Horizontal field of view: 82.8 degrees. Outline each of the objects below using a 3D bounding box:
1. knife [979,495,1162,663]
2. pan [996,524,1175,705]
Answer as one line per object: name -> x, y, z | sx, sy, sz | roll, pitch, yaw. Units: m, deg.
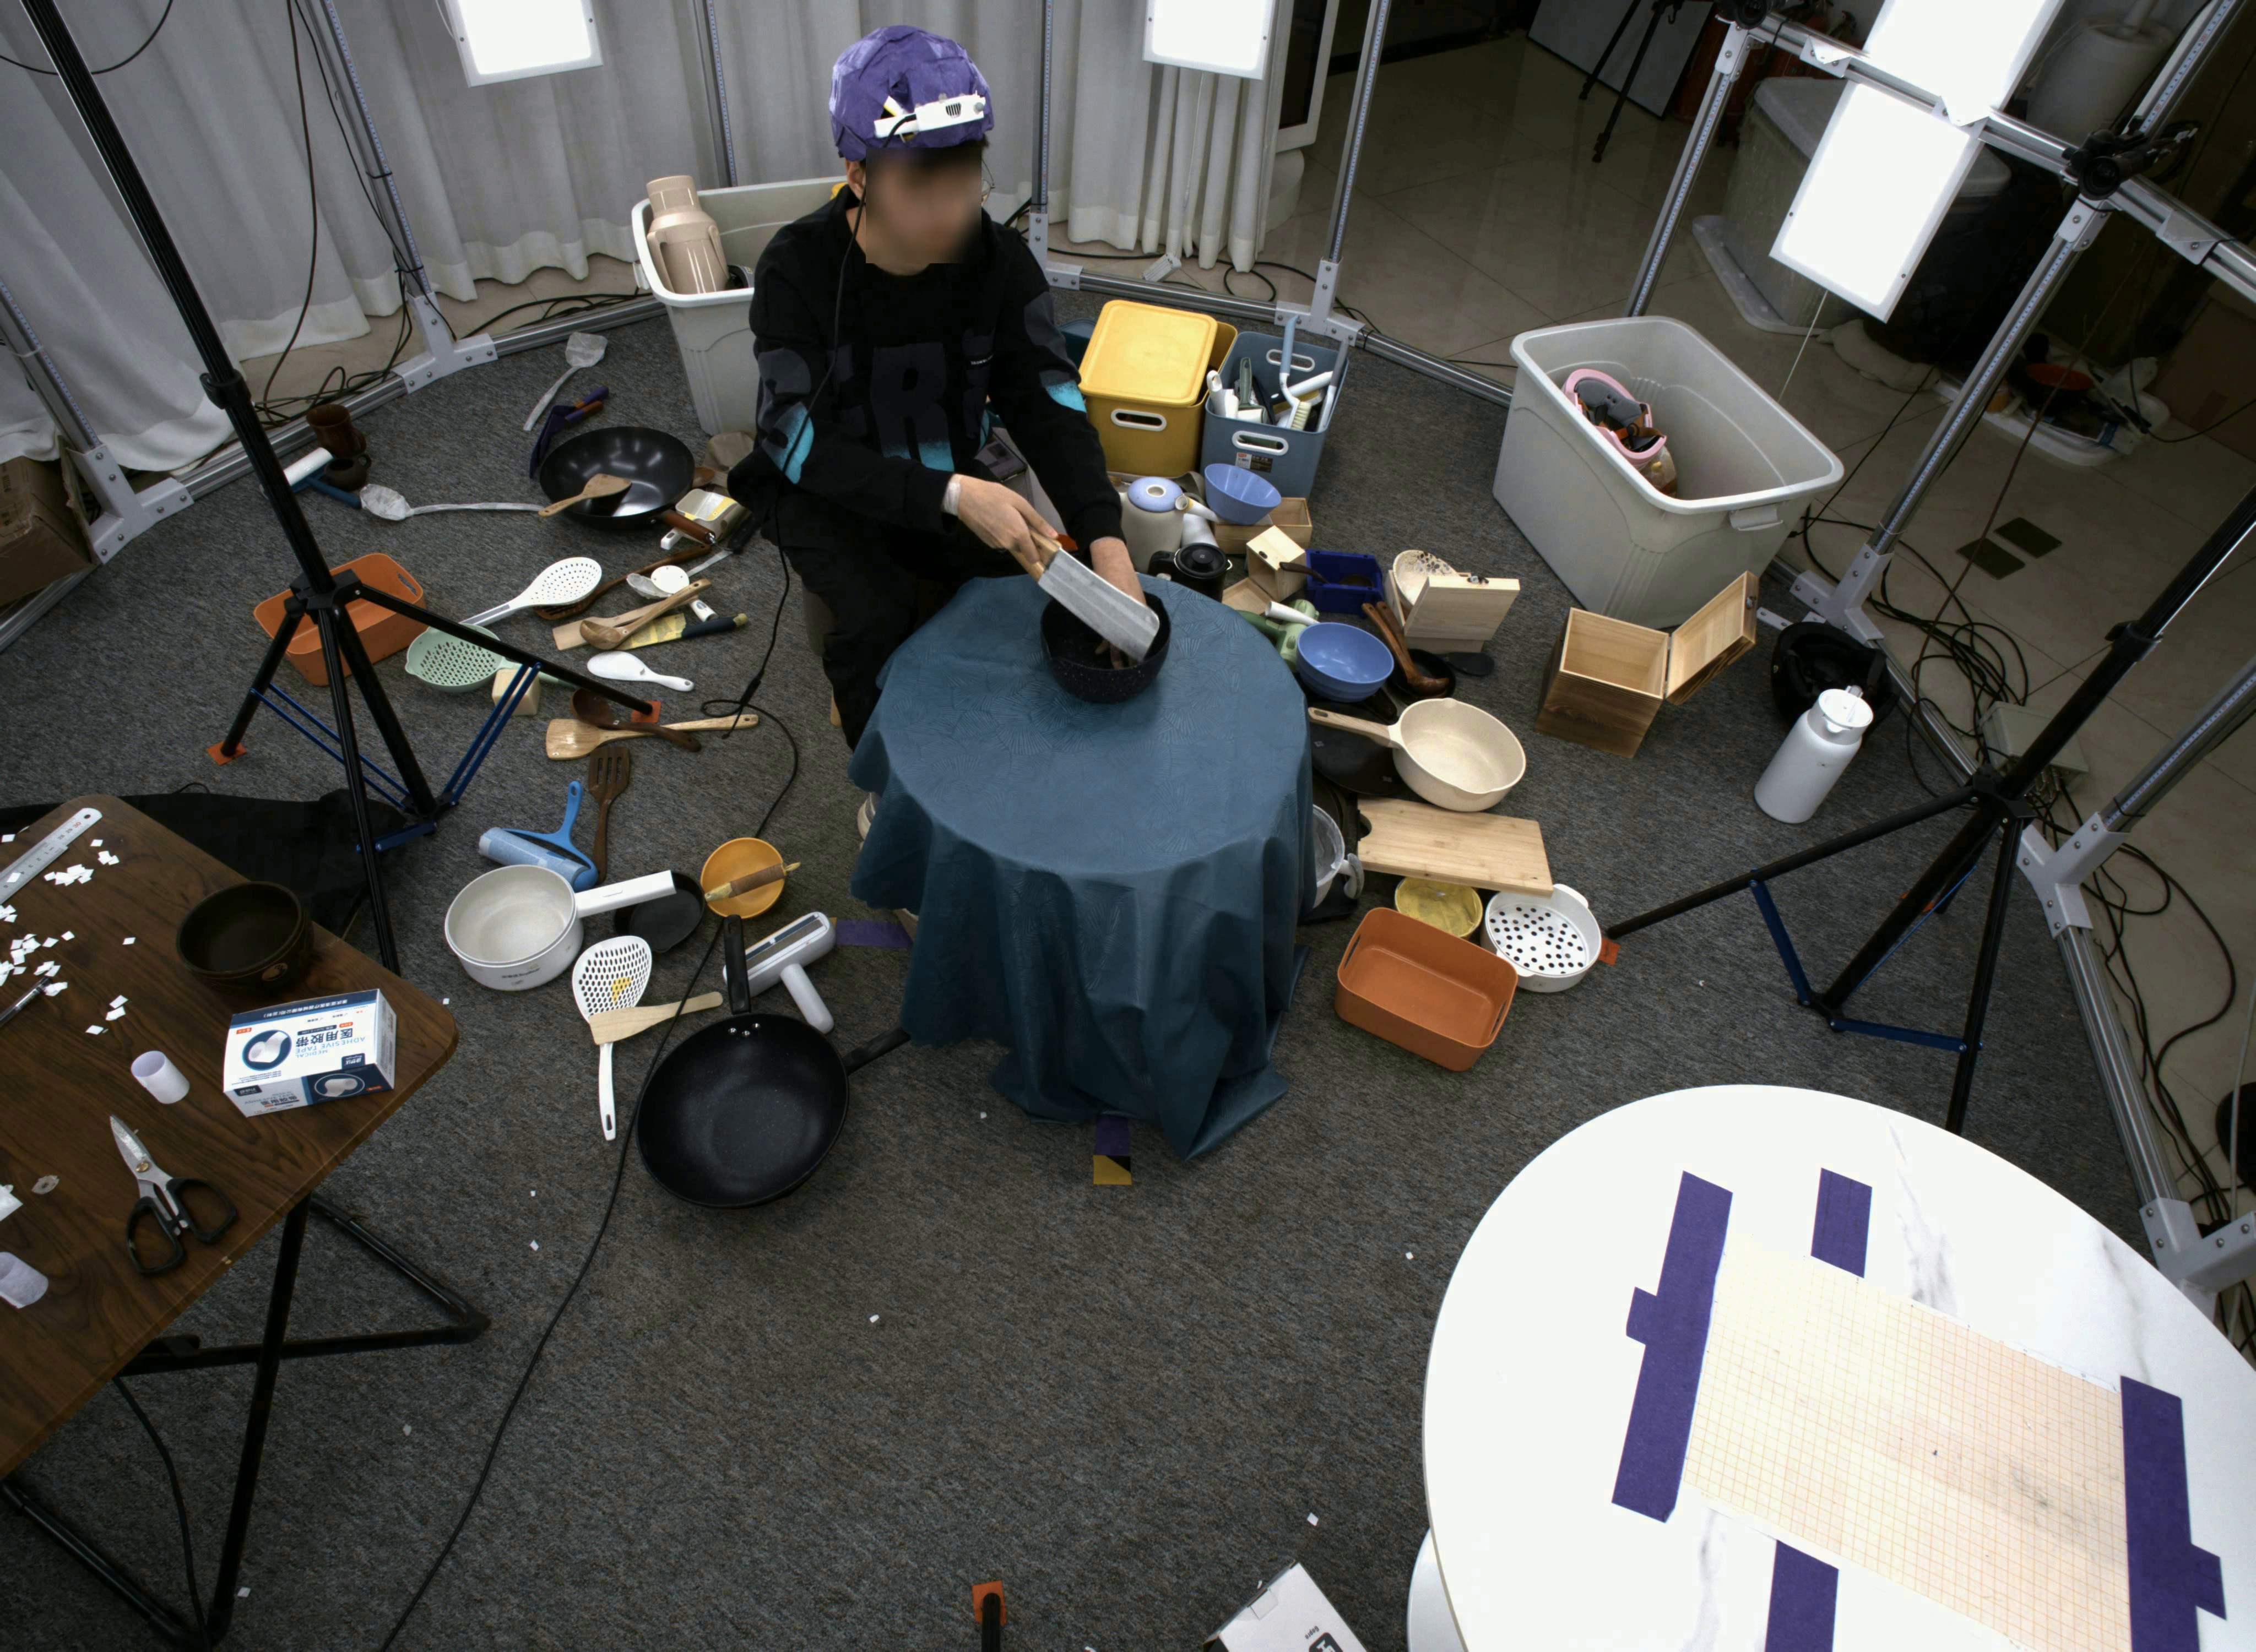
knife -> -0.079, -0.346, 1.781 | 0.315, 0.112, 0.022 | 40, 54, -1
pan -> -0.081, -0.311, 1.863 | 0.209, 0.105, 0.348 | -33, 60, -27
